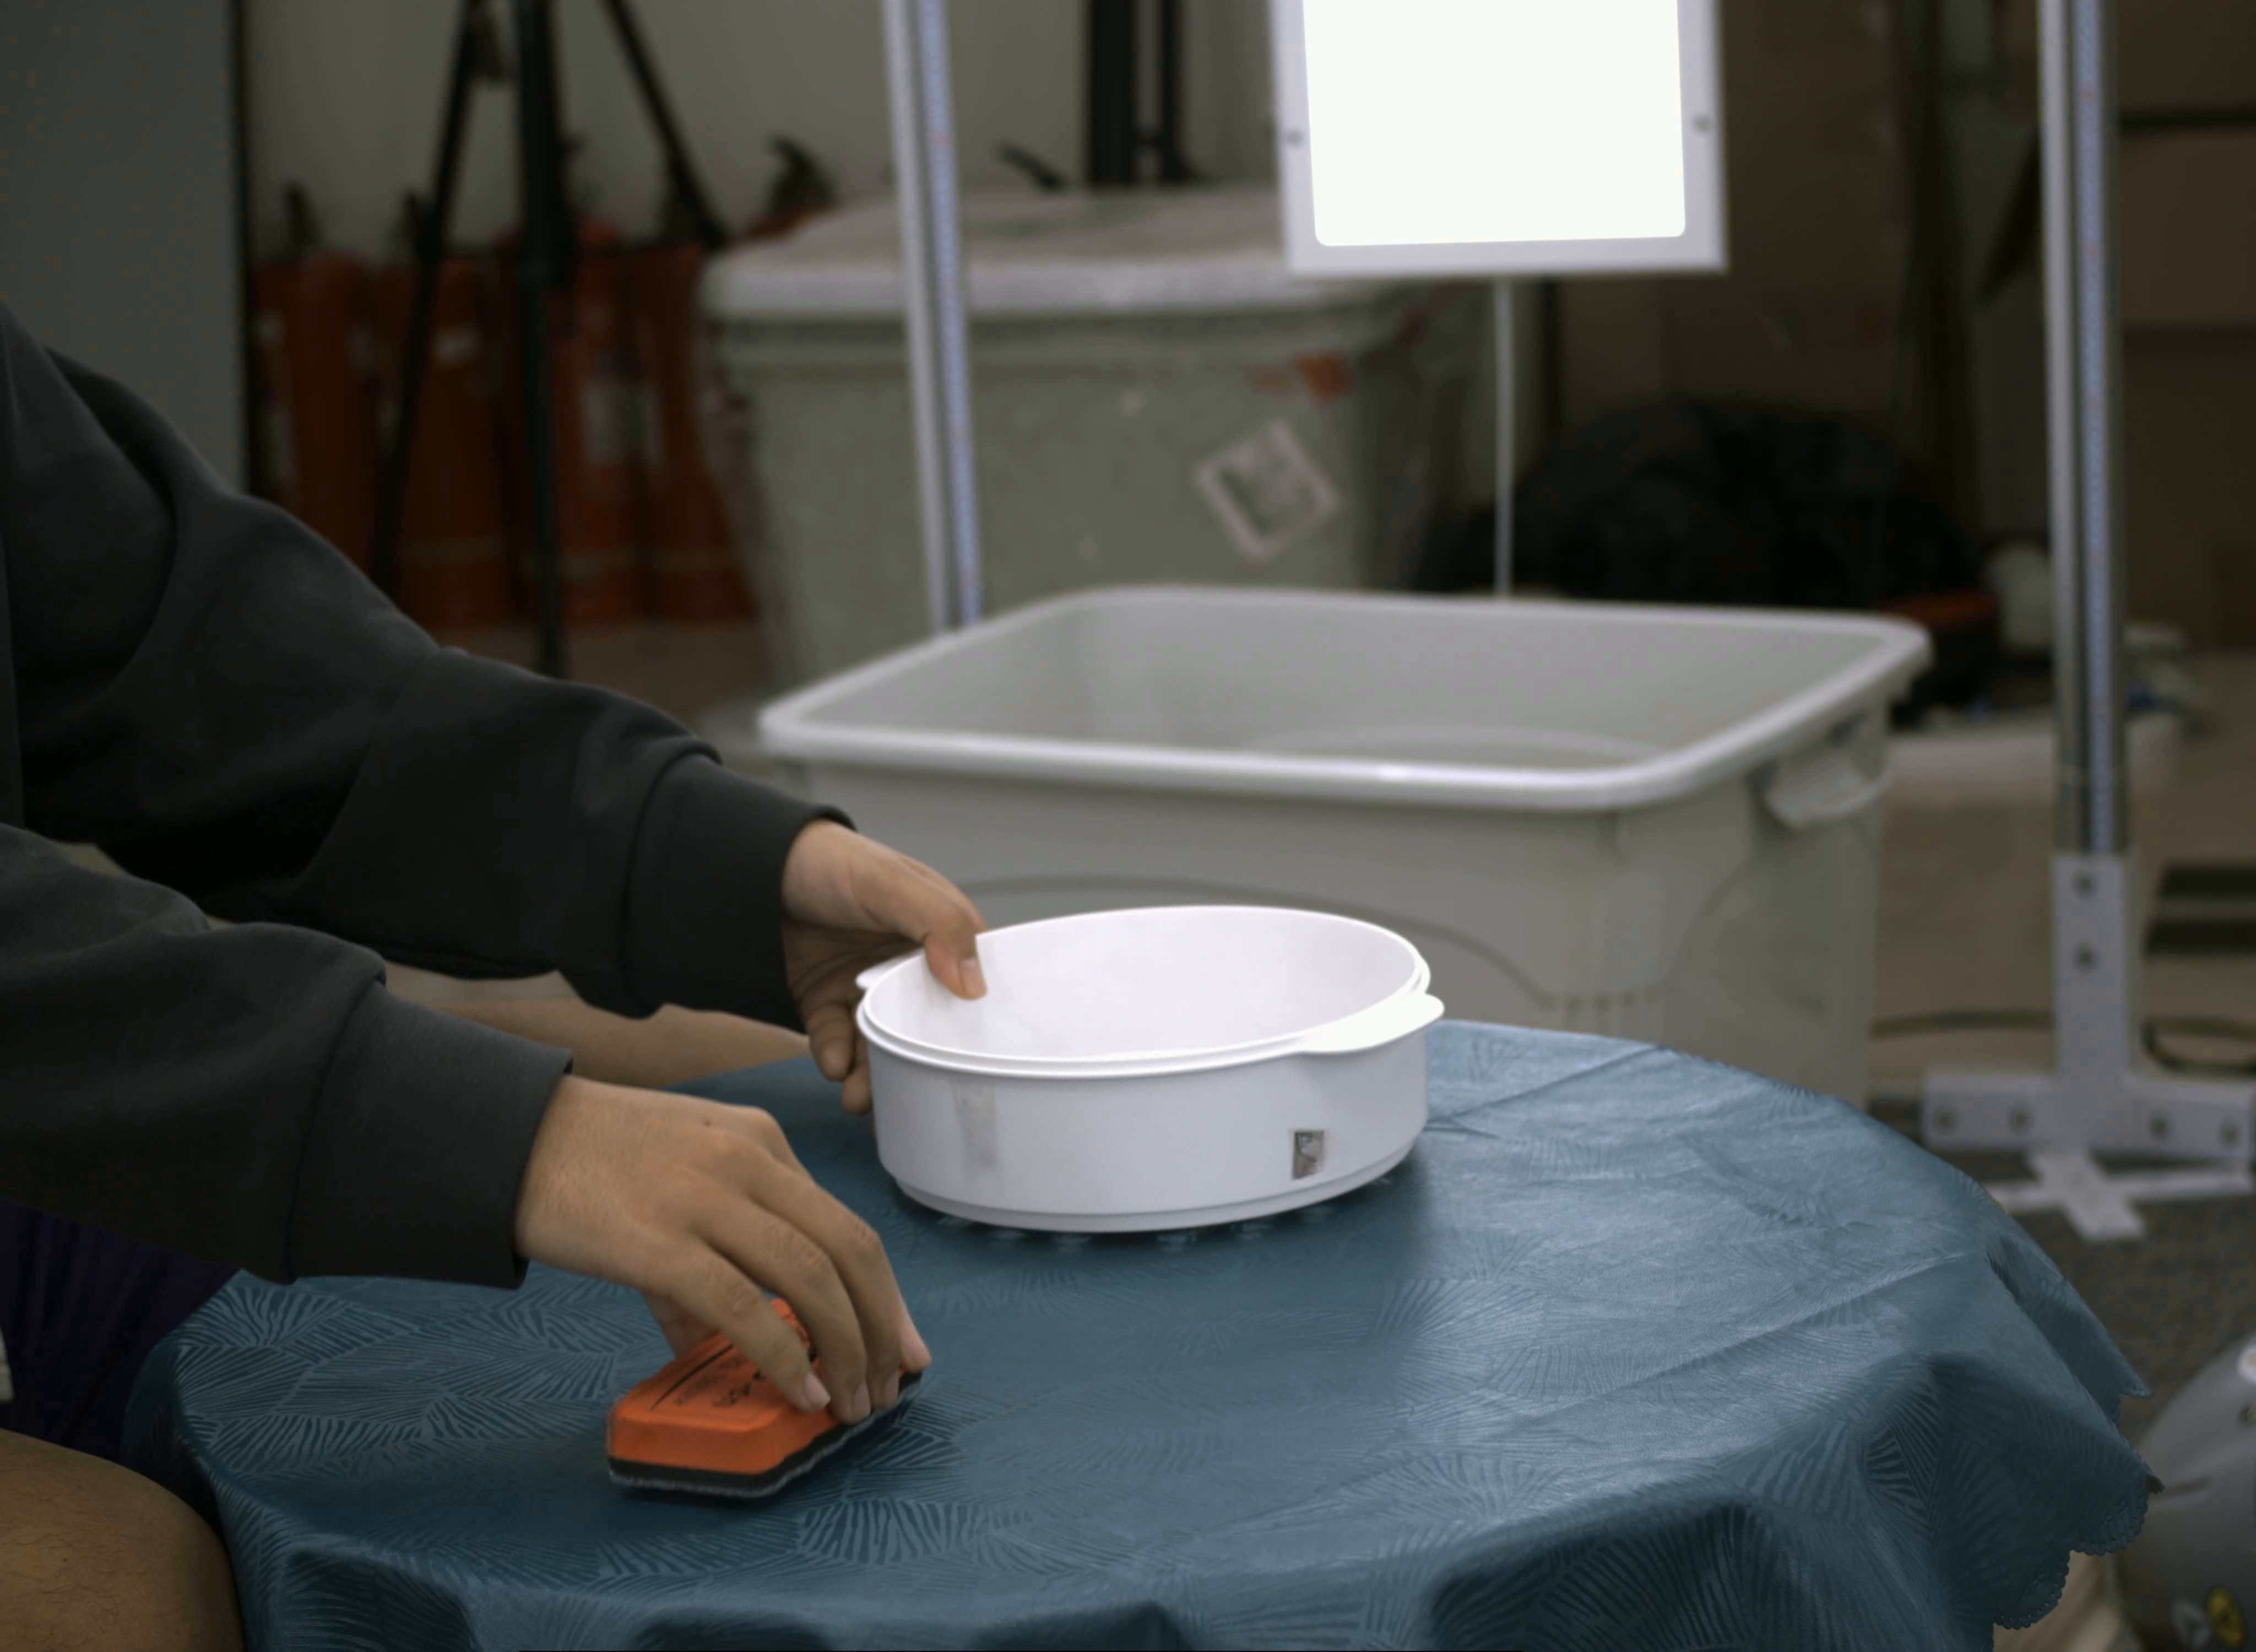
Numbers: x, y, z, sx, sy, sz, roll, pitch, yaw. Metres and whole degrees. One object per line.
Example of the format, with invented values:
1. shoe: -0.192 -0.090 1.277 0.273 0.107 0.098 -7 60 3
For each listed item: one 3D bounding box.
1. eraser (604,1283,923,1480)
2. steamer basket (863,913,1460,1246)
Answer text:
1. eraser: -0.110 0.168 1.675 0.060 0.023 0.106 -8 13 29
2. steamer basket: 0.011 0.088 1.916 0.235 0.069 0.197 7 18 38
